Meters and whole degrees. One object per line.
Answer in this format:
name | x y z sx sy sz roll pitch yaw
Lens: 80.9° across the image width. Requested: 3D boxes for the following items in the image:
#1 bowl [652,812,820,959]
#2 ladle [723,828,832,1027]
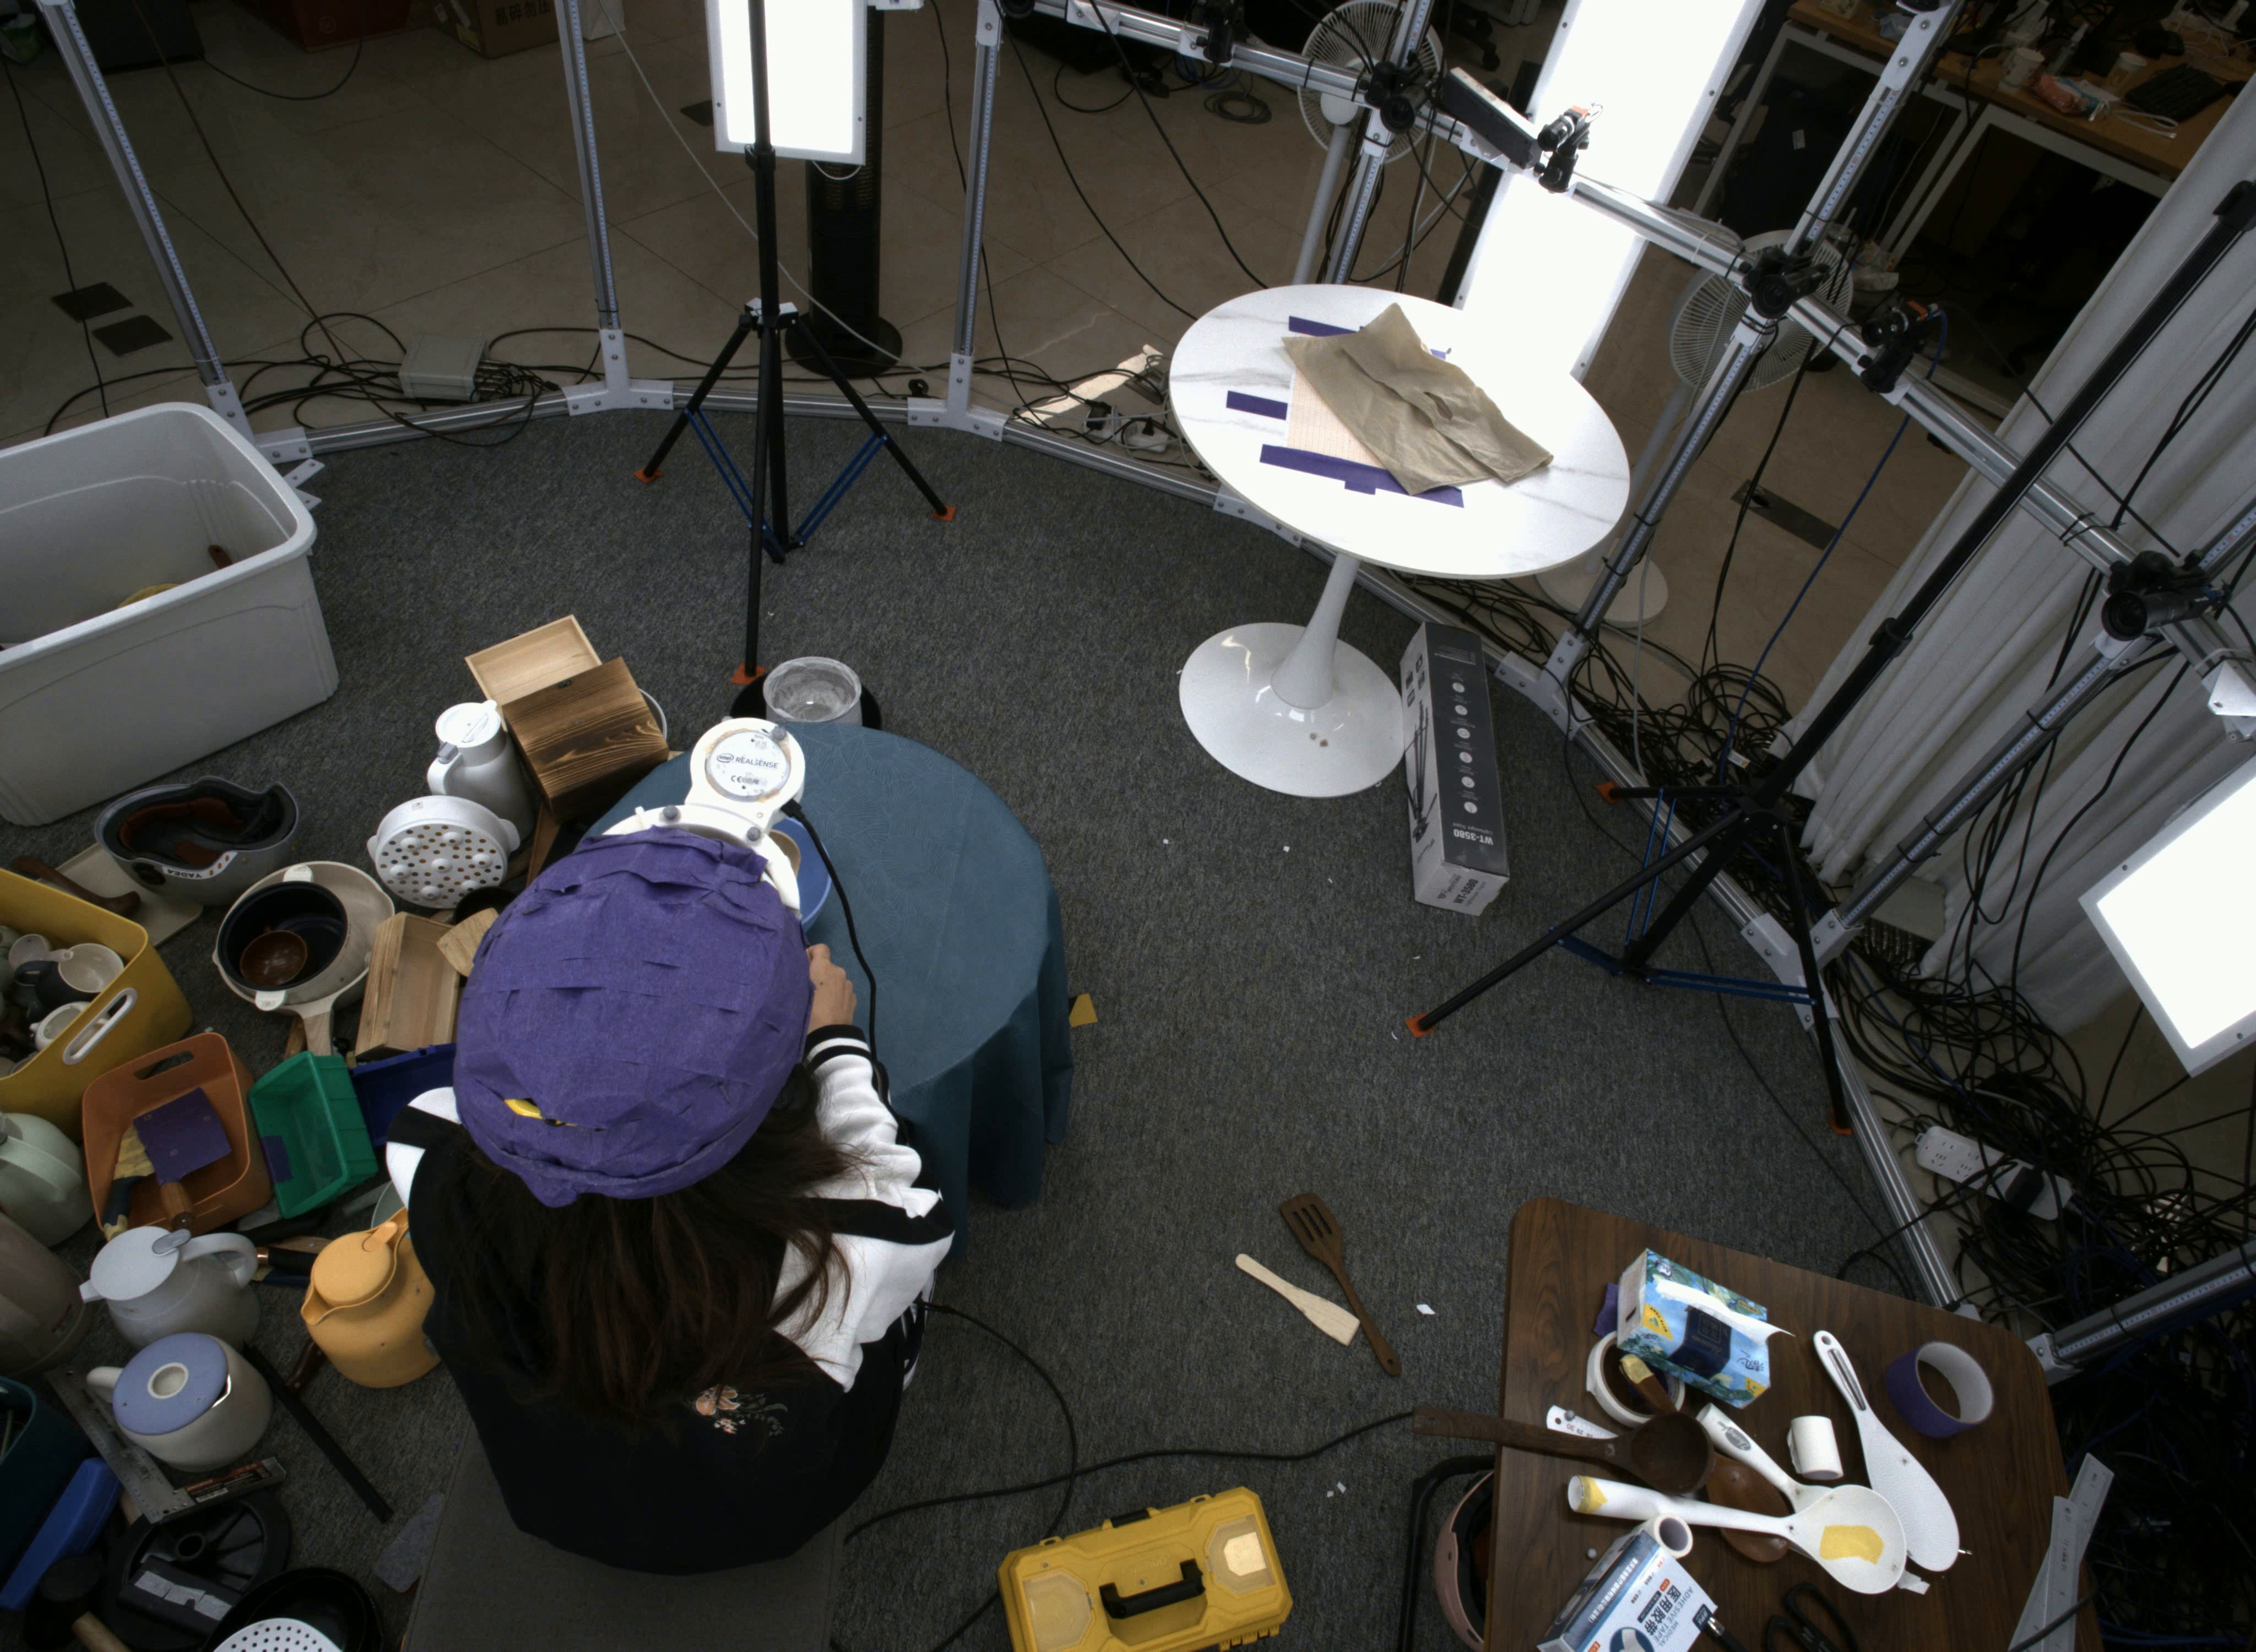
bowl | -0.474 0.086 1.578 0.196 0.097 0.193 8 49 -7
ladle | -0.396 0.109 1.467 0.071 0.075 0.248 -31 60 3
